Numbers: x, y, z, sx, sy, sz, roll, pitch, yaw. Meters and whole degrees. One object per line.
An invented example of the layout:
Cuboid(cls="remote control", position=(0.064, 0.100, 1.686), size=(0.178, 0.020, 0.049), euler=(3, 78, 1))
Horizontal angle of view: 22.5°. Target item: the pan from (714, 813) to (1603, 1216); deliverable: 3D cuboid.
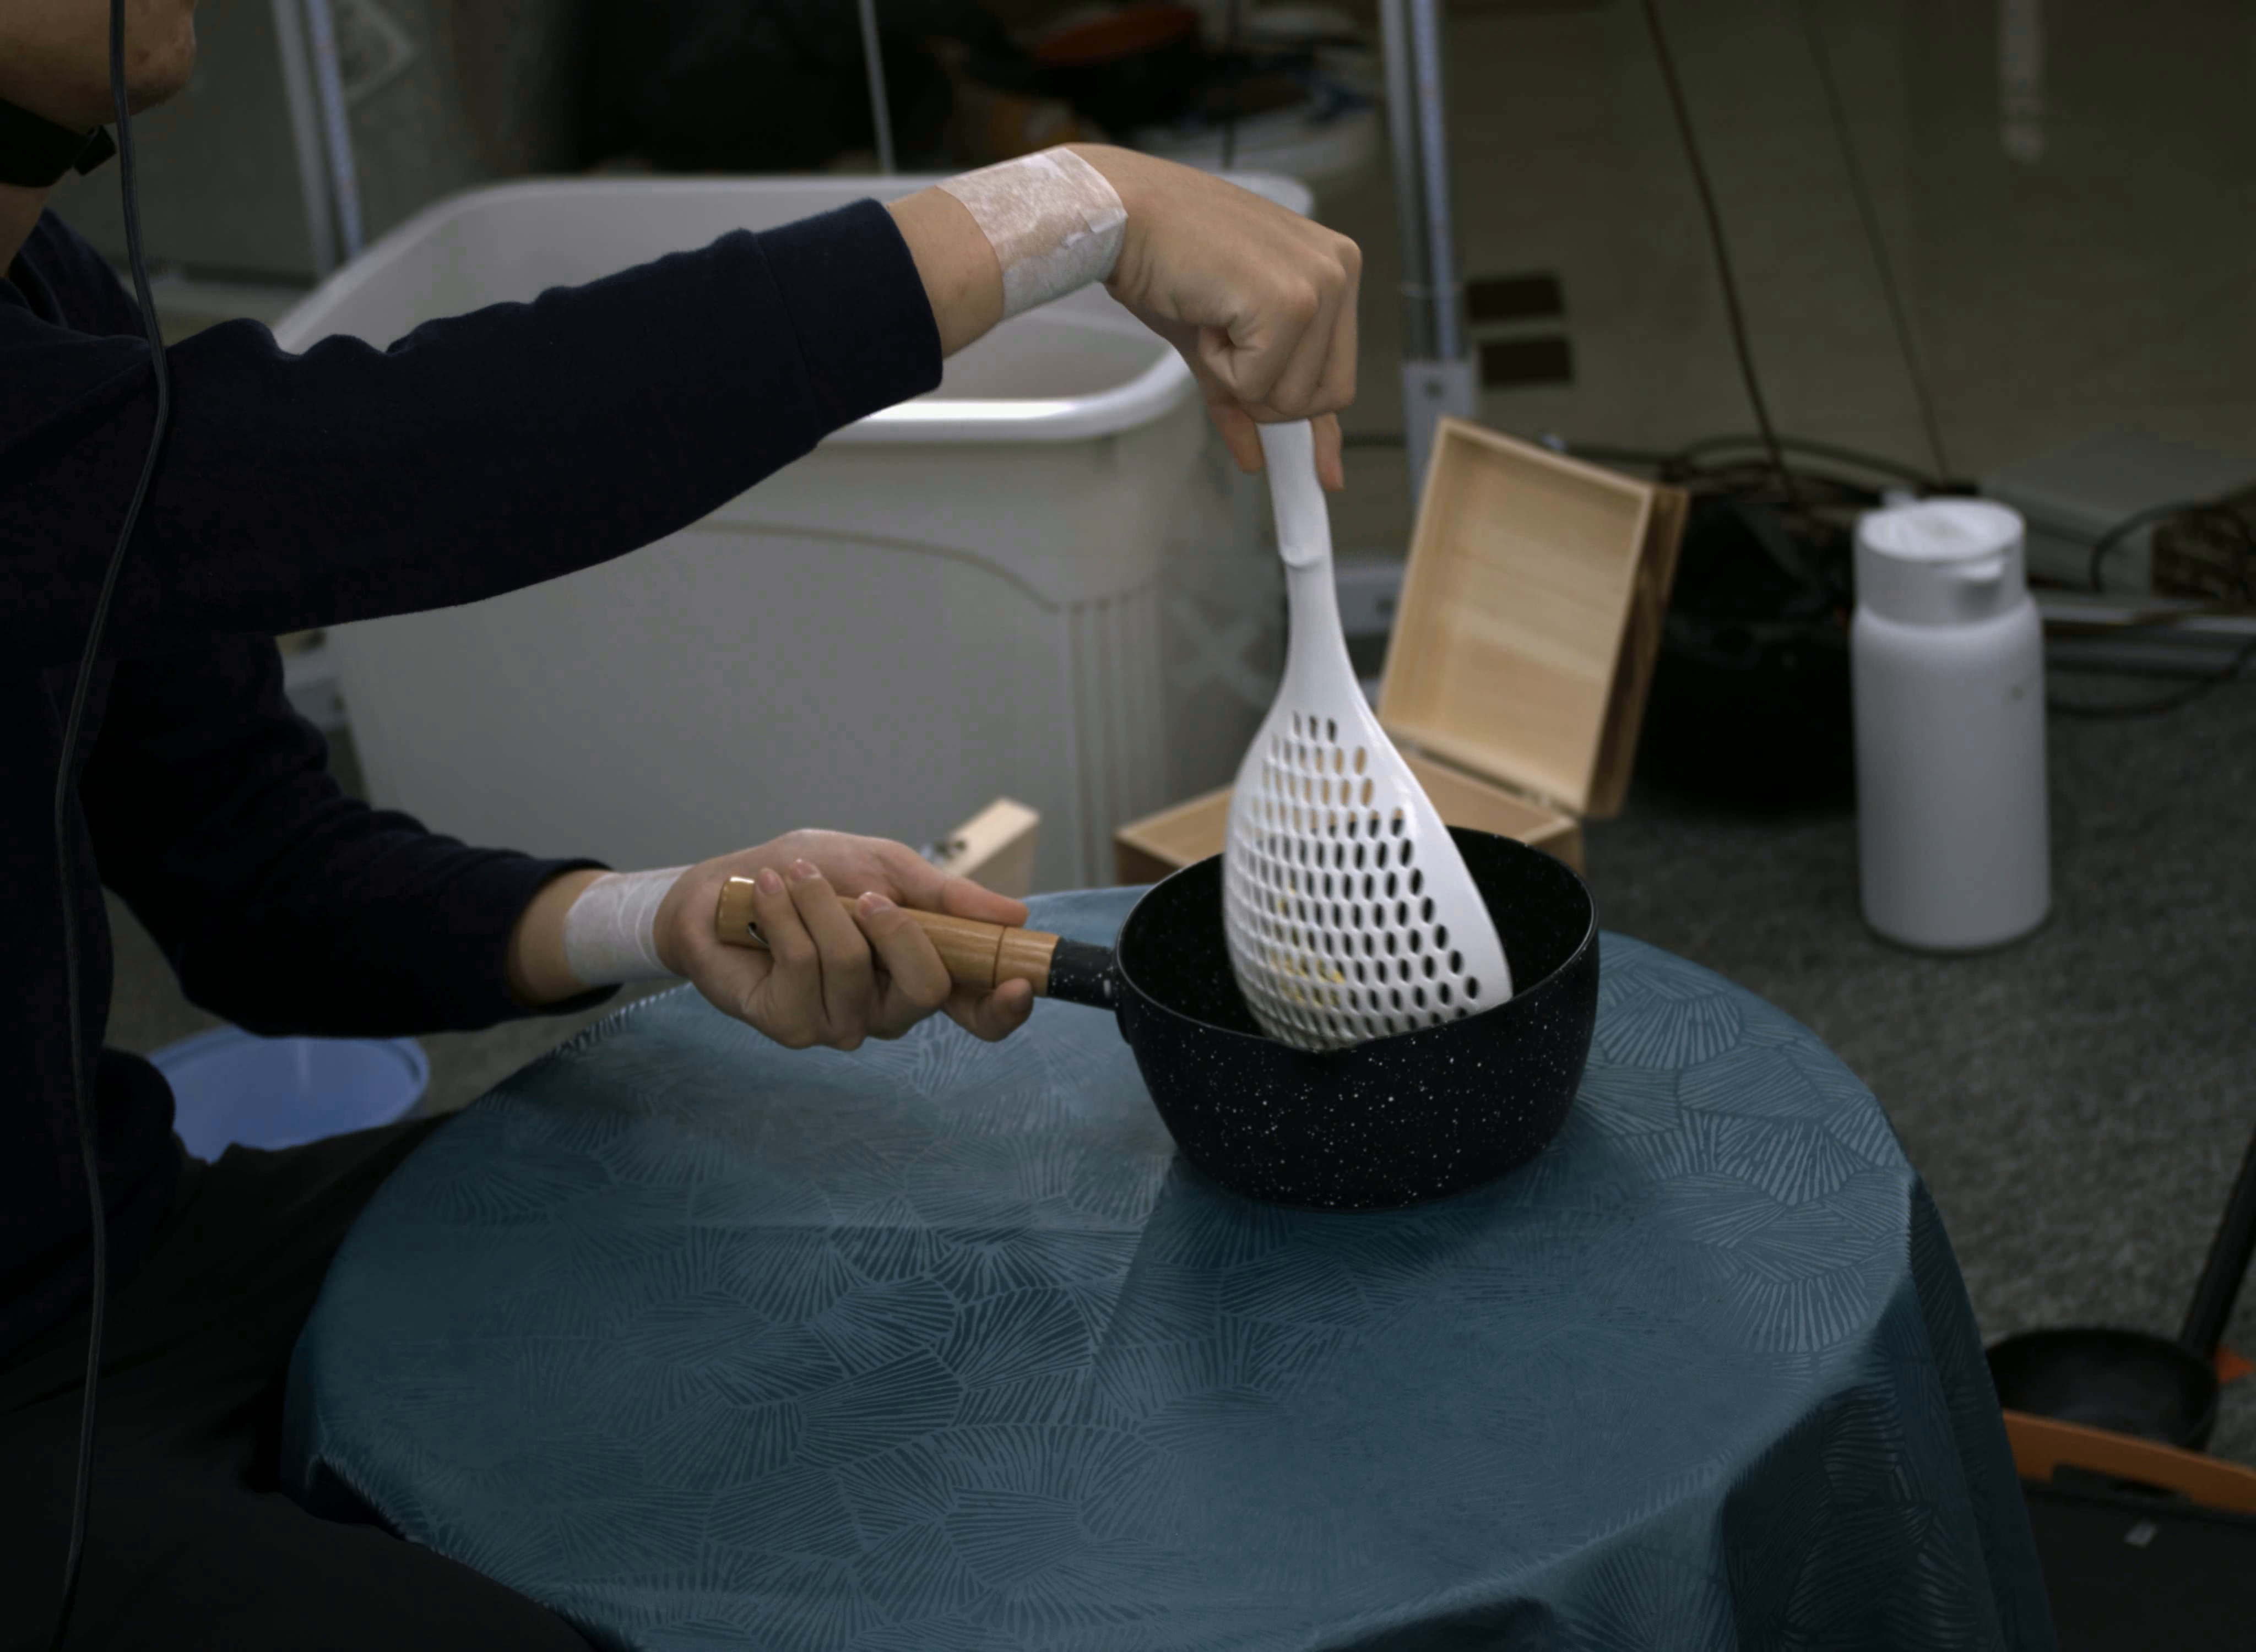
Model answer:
Cuboid(cls="pan", position=(0.011, 0.067, 2.168), size=(0.342, 0.110, 0.204), euler=(-1, 27, 9))

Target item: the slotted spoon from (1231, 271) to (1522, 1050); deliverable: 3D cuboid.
Cuboid(cls="slotted spoon", position=(0.072, -0.045, 2.076), size=(0.136, 0.353, 0.050), euler=(14, 31, 38))
